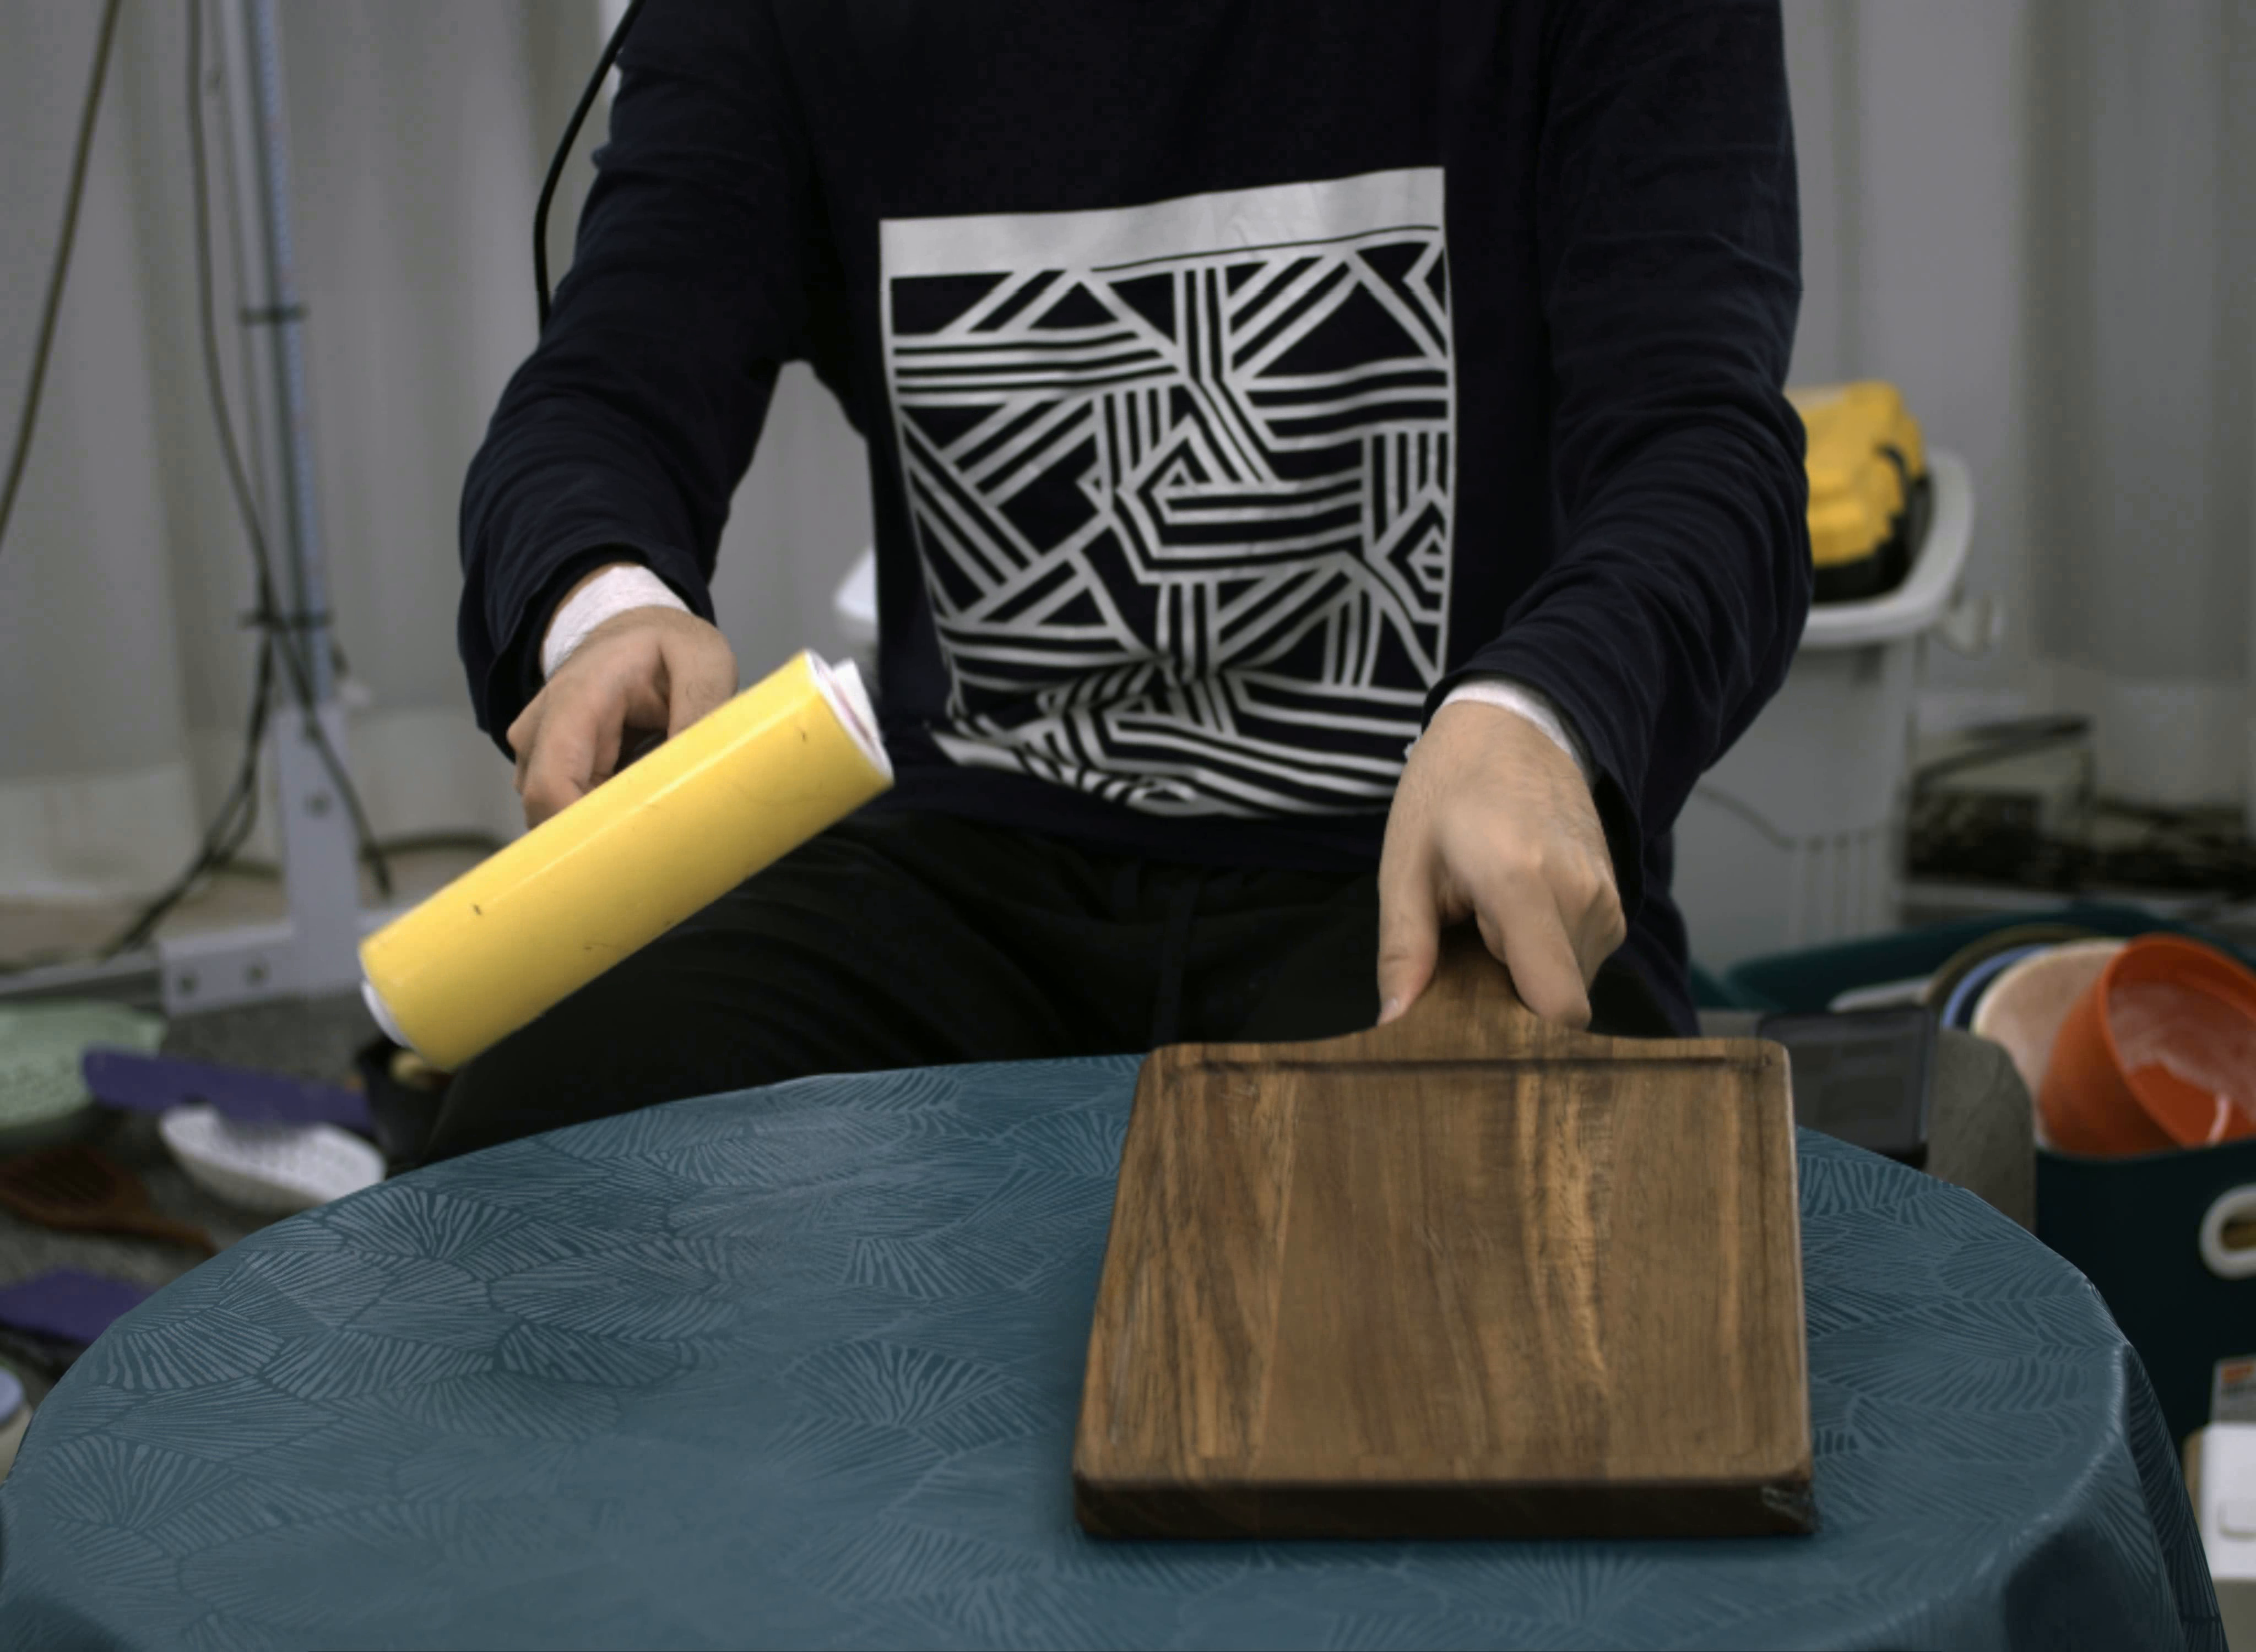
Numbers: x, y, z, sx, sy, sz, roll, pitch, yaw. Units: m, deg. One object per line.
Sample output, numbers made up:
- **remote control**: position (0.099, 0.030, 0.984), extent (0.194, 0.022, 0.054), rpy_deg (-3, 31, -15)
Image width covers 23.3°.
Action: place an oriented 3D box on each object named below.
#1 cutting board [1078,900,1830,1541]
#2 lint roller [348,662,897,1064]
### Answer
- **cutting board**: position (0.096, 0.106, 1.581), extent (0.200, 0.023, 0.356), rpy_deg (-1, 24, 6)
- **lint roller**: position (-0.158, -0.011, 1.685), extent (0.174, 0.051, 0.194), rpy_deg (-30, 21, 3)
